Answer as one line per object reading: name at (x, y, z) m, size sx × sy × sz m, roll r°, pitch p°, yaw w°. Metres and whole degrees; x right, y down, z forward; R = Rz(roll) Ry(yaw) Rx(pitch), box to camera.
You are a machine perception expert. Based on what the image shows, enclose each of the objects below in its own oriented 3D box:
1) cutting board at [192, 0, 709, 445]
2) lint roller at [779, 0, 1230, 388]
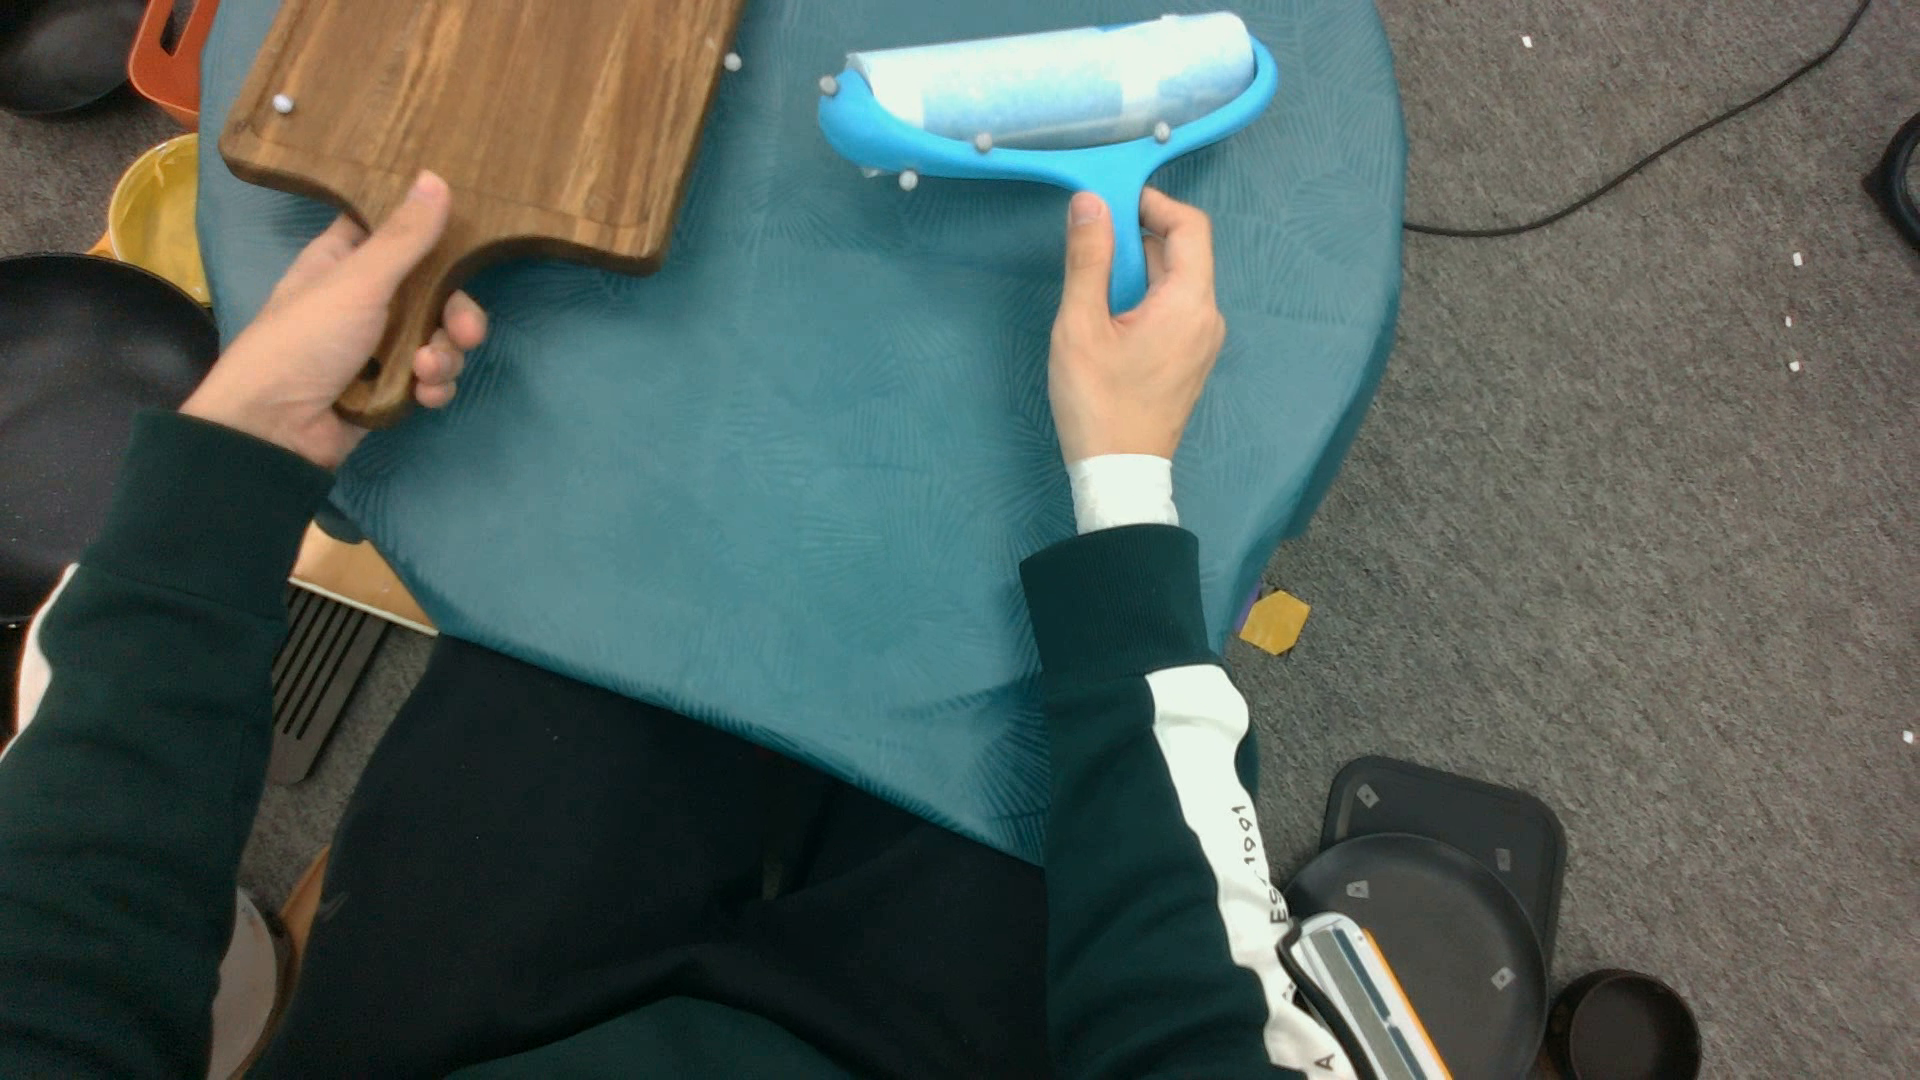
cutting board at (-0.231, -0.207, 0.637) m, size 0.201 × 0.023 × 0.353 m, roll 10°, pitch 69°, yaw -4°
lint roller at (0.046, -0.164, 0.644) m, size 0.229 × 0.067 × 0.180 m, roll -20°, pitch 82°, yaw -23°
